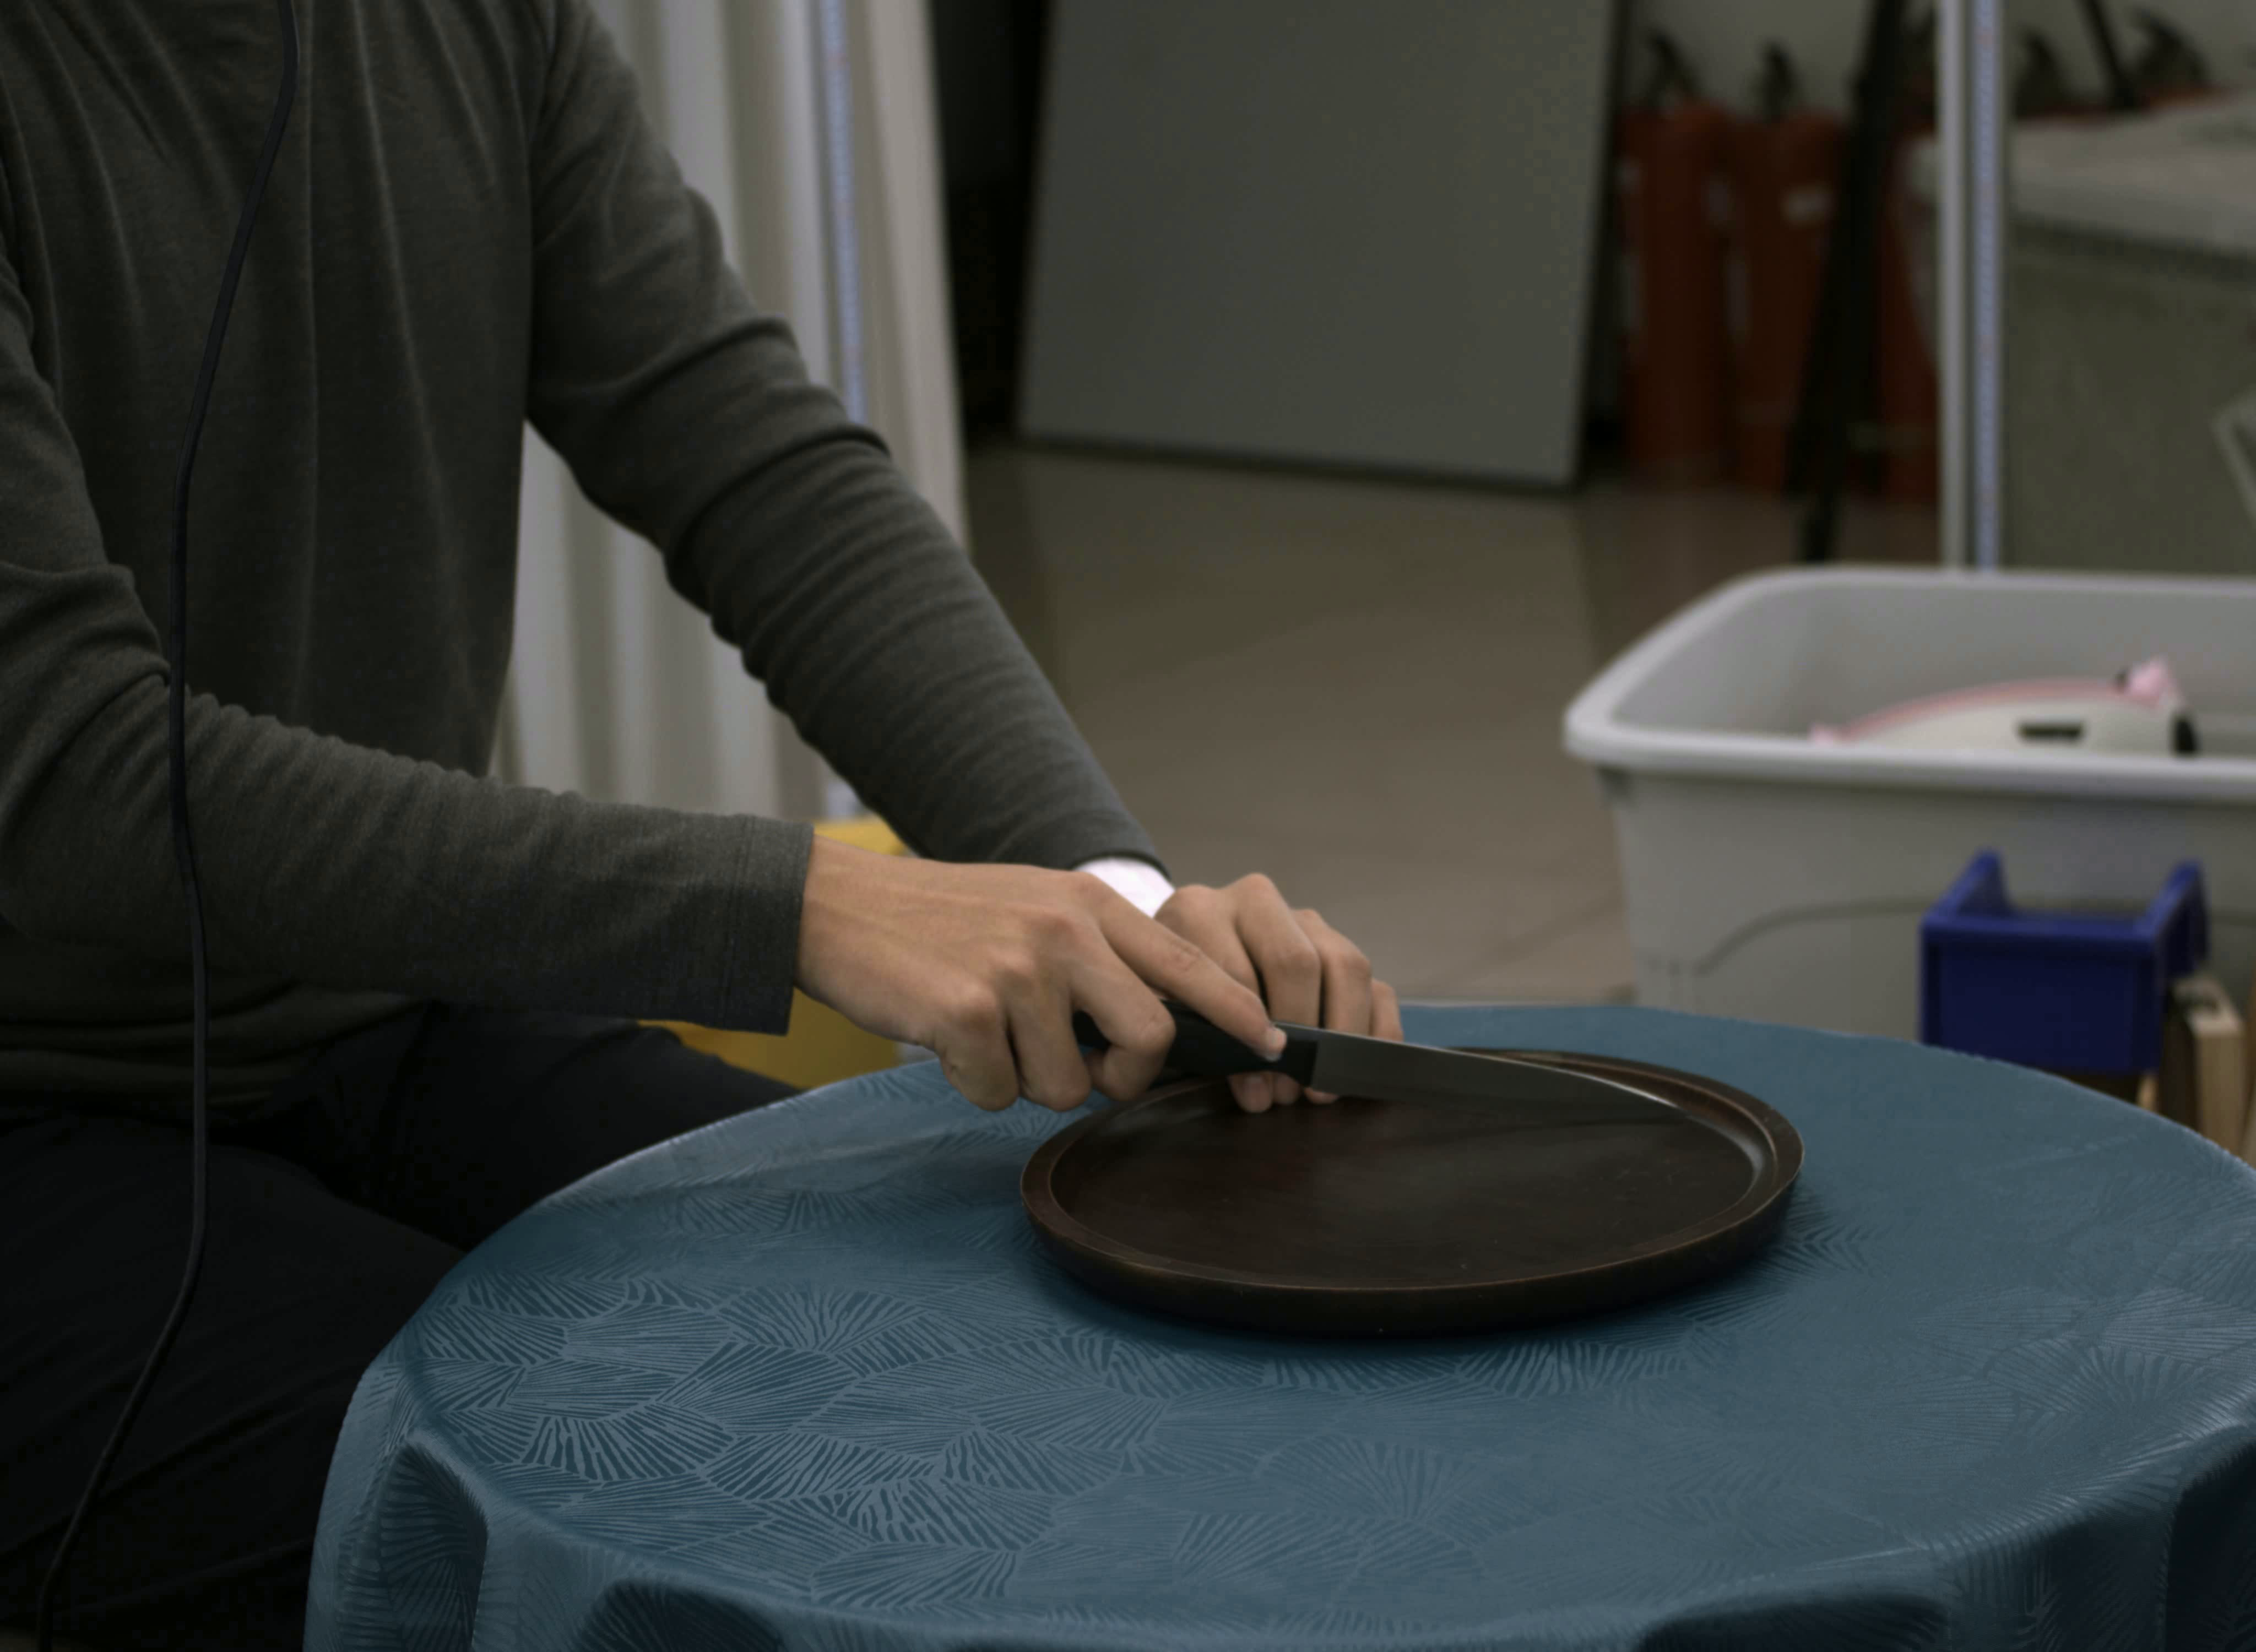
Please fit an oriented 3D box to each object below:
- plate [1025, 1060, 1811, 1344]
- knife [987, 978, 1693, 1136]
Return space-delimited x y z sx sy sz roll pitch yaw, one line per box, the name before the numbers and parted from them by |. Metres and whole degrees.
plate | 0.092 0.117 1.718 0.251 0.029 0.255 -3 14 0
knife | 0.071 0.076 1.773 0.235 0.025 0.016 10 10 4
